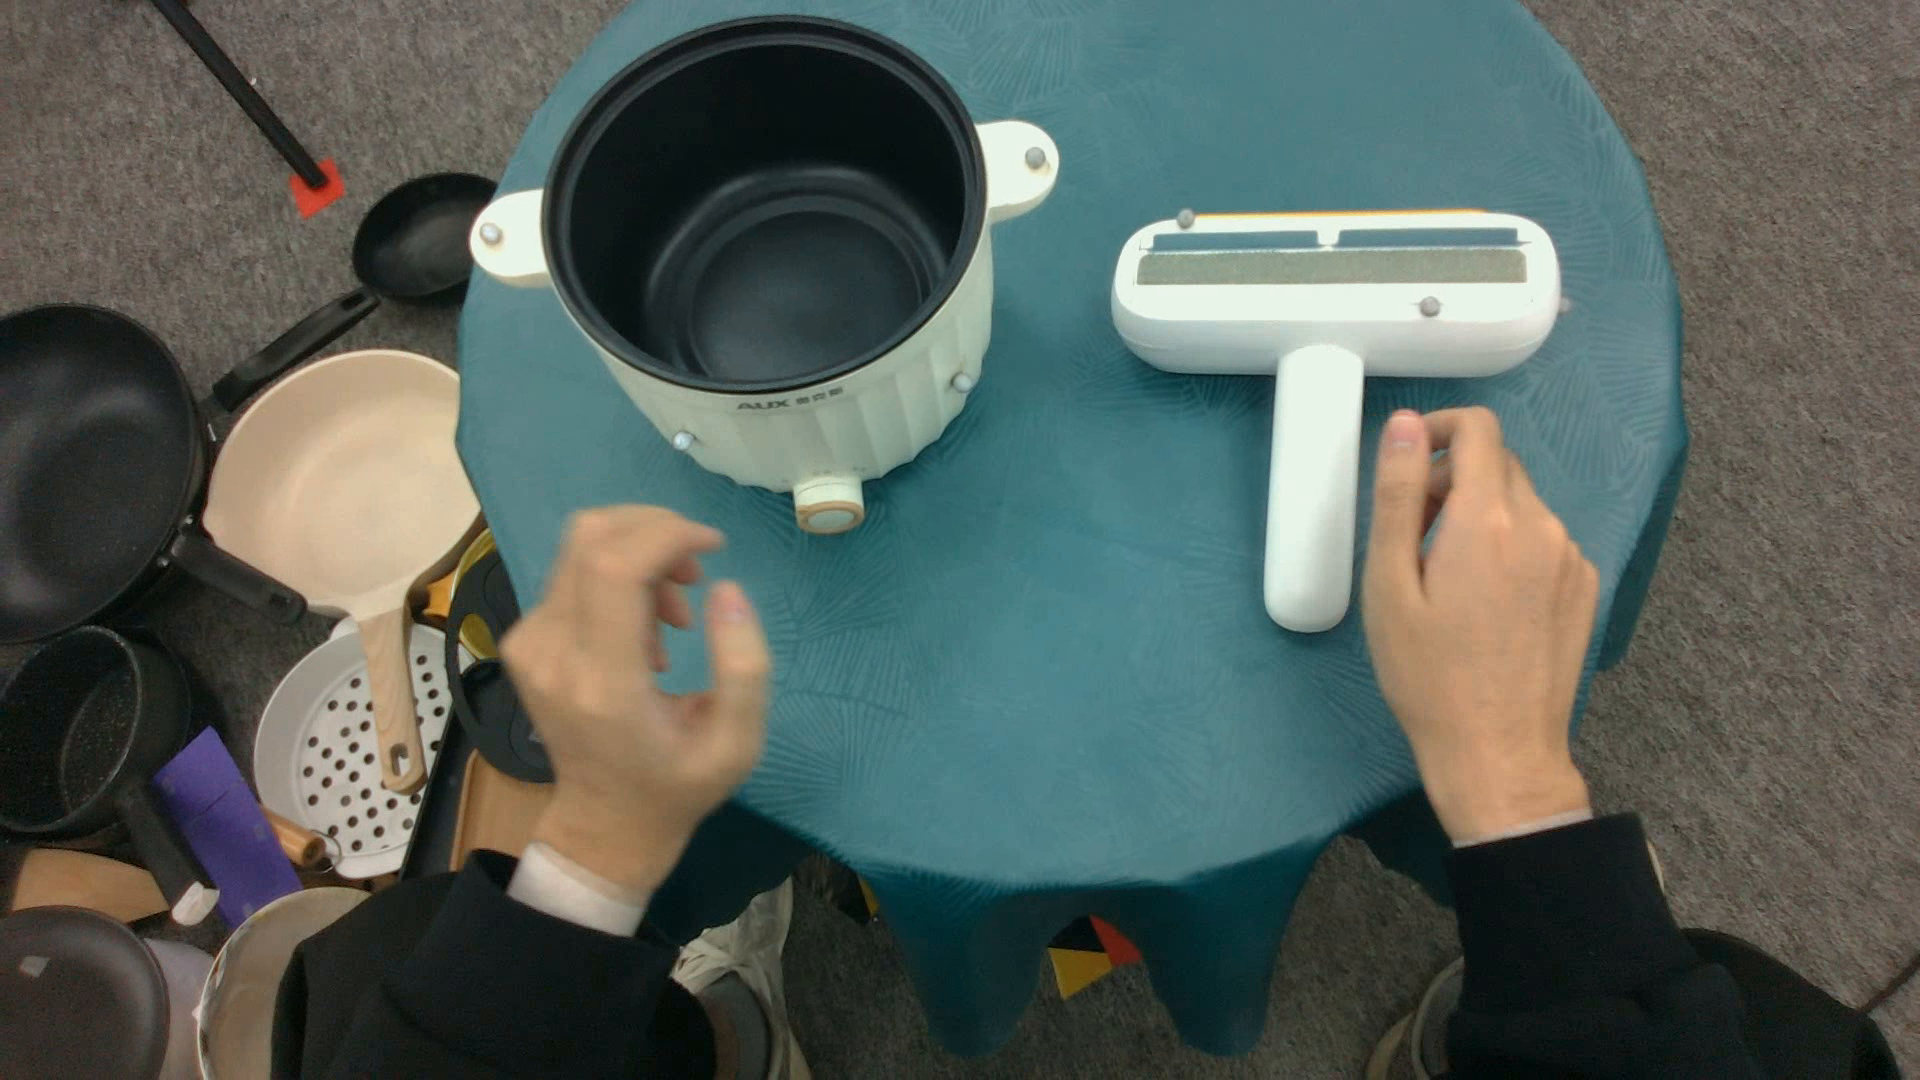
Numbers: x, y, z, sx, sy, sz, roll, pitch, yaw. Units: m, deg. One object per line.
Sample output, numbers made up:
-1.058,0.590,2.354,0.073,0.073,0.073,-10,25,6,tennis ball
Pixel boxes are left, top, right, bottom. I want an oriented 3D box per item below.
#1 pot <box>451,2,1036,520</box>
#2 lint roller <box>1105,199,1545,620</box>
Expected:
-0.082,-0.117,0.614,0.240,0.142,0.191,-10,65,1,pot
0.152,-0.061,0.616,0.193,0.074,0.193,8,70,12,lint roller
